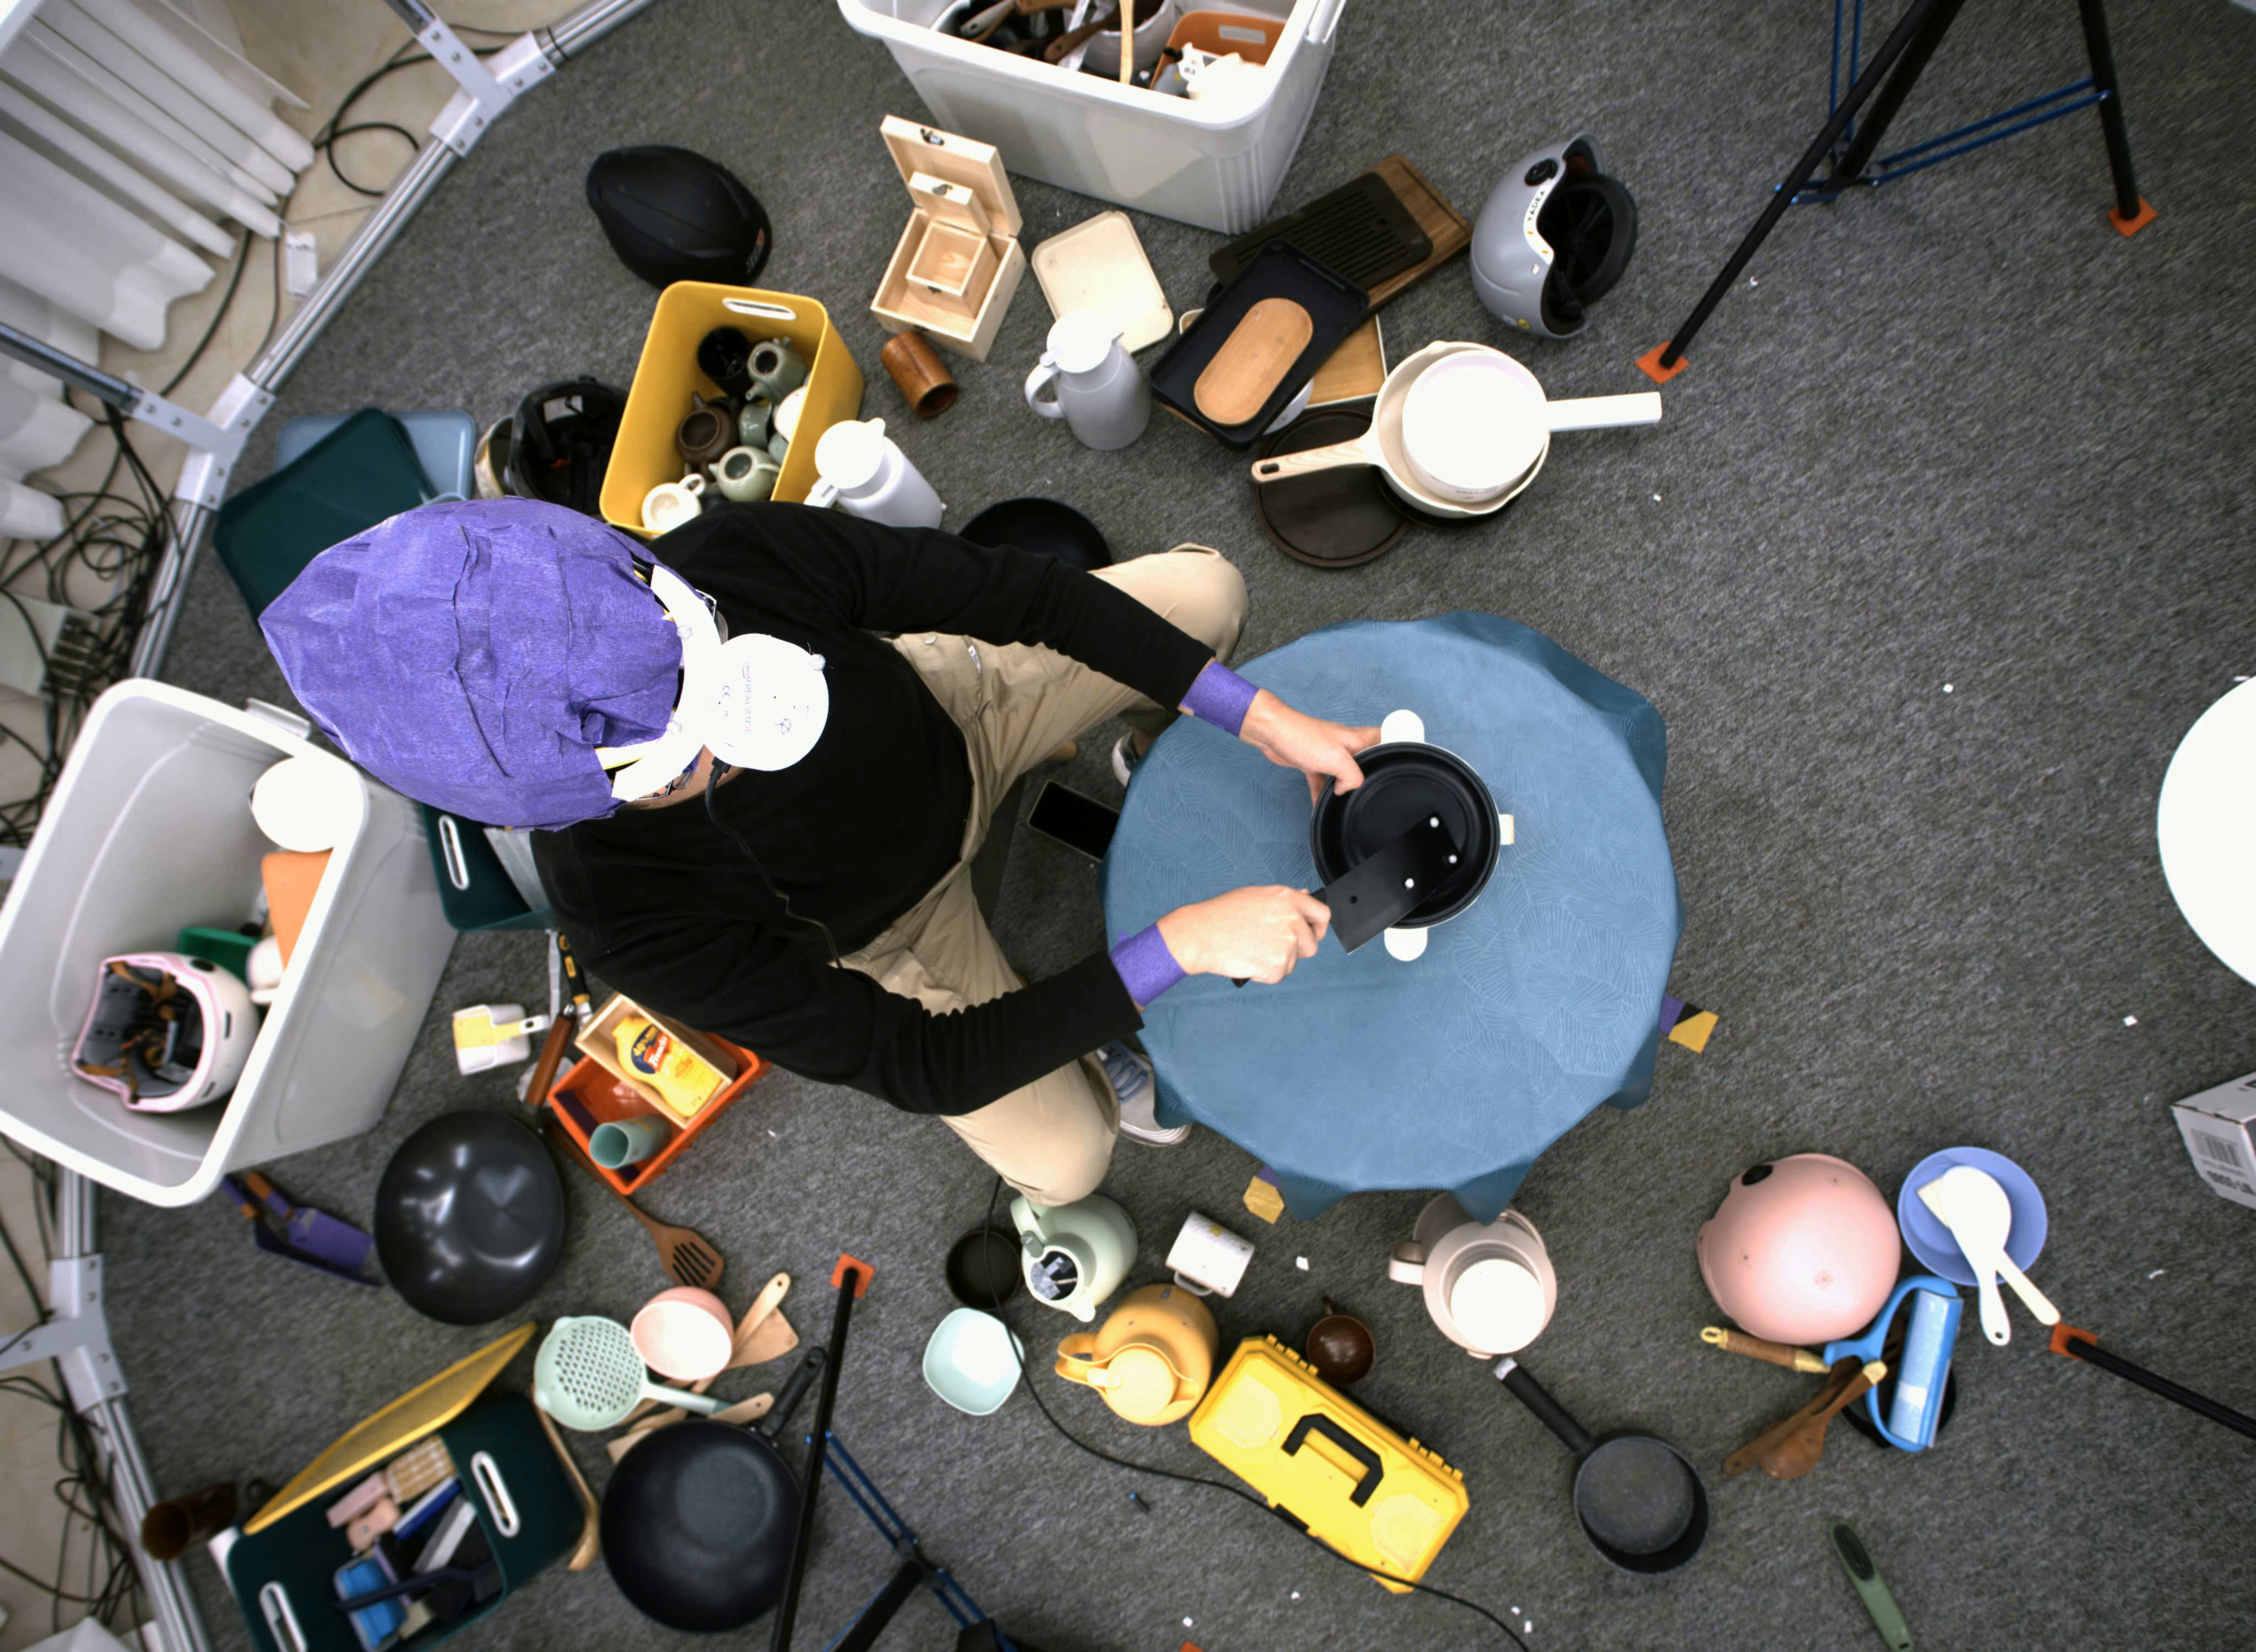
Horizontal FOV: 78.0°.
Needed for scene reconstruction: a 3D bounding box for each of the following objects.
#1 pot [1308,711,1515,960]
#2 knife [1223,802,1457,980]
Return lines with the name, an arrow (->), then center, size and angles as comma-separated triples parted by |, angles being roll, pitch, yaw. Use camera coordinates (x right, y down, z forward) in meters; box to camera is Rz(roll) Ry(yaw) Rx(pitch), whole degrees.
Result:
pot -> 0.287, 0.004, 1.381 | 0.191, 0.141, 0.241 | -1, 96, 20
knife -> 0.204, 0.065, 1.303 | 0.298, 0.021, 0.081 | -27, 93, -29
